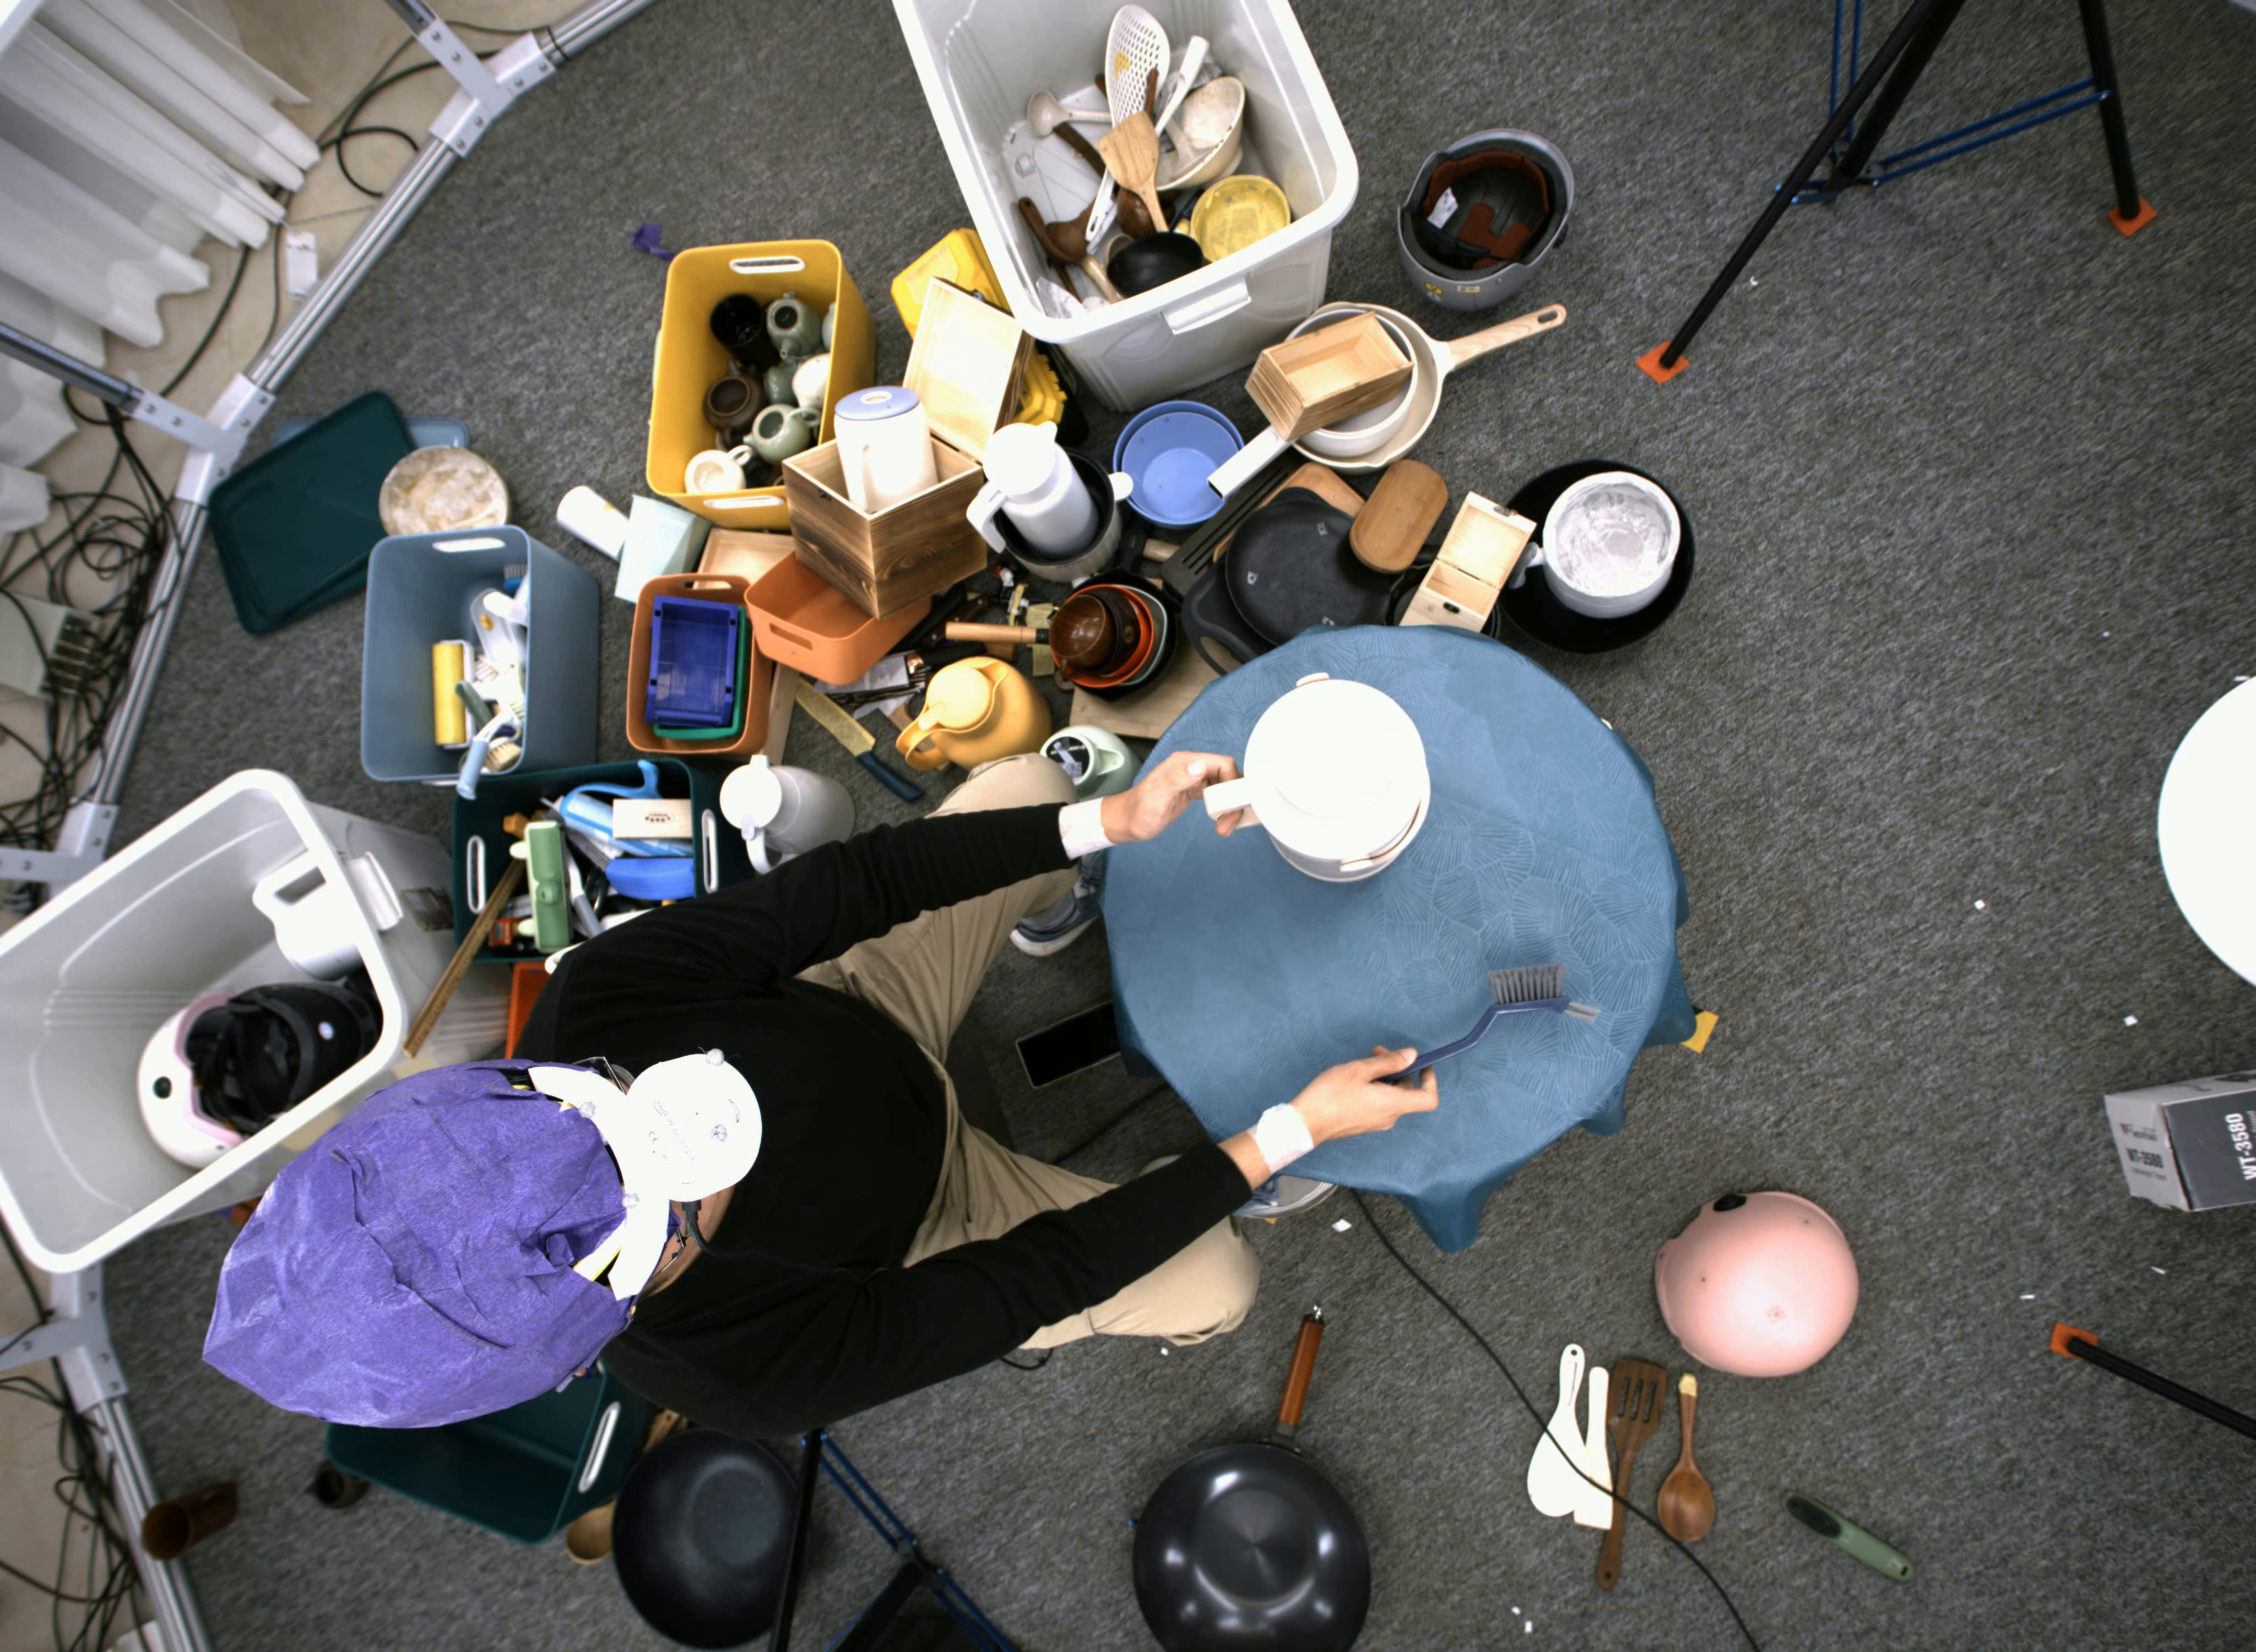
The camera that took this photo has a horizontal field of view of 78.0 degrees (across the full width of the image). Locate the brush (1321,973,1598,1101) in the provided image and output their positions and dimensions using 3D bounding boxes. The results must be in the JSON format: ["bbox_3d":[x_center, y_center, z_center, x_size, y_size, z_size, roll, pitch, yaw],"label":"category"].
[{"bbox_3d":[0.325,0.226,1.375,0.275,0.033,0.095,-32,81,9],"label":"brush"}]

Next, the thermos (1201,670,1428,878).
[{"bbox_3d":[0.178,-0.041,1.282,0.208,0.406,0.174,-14,84,8],"label":"thermos"}]
